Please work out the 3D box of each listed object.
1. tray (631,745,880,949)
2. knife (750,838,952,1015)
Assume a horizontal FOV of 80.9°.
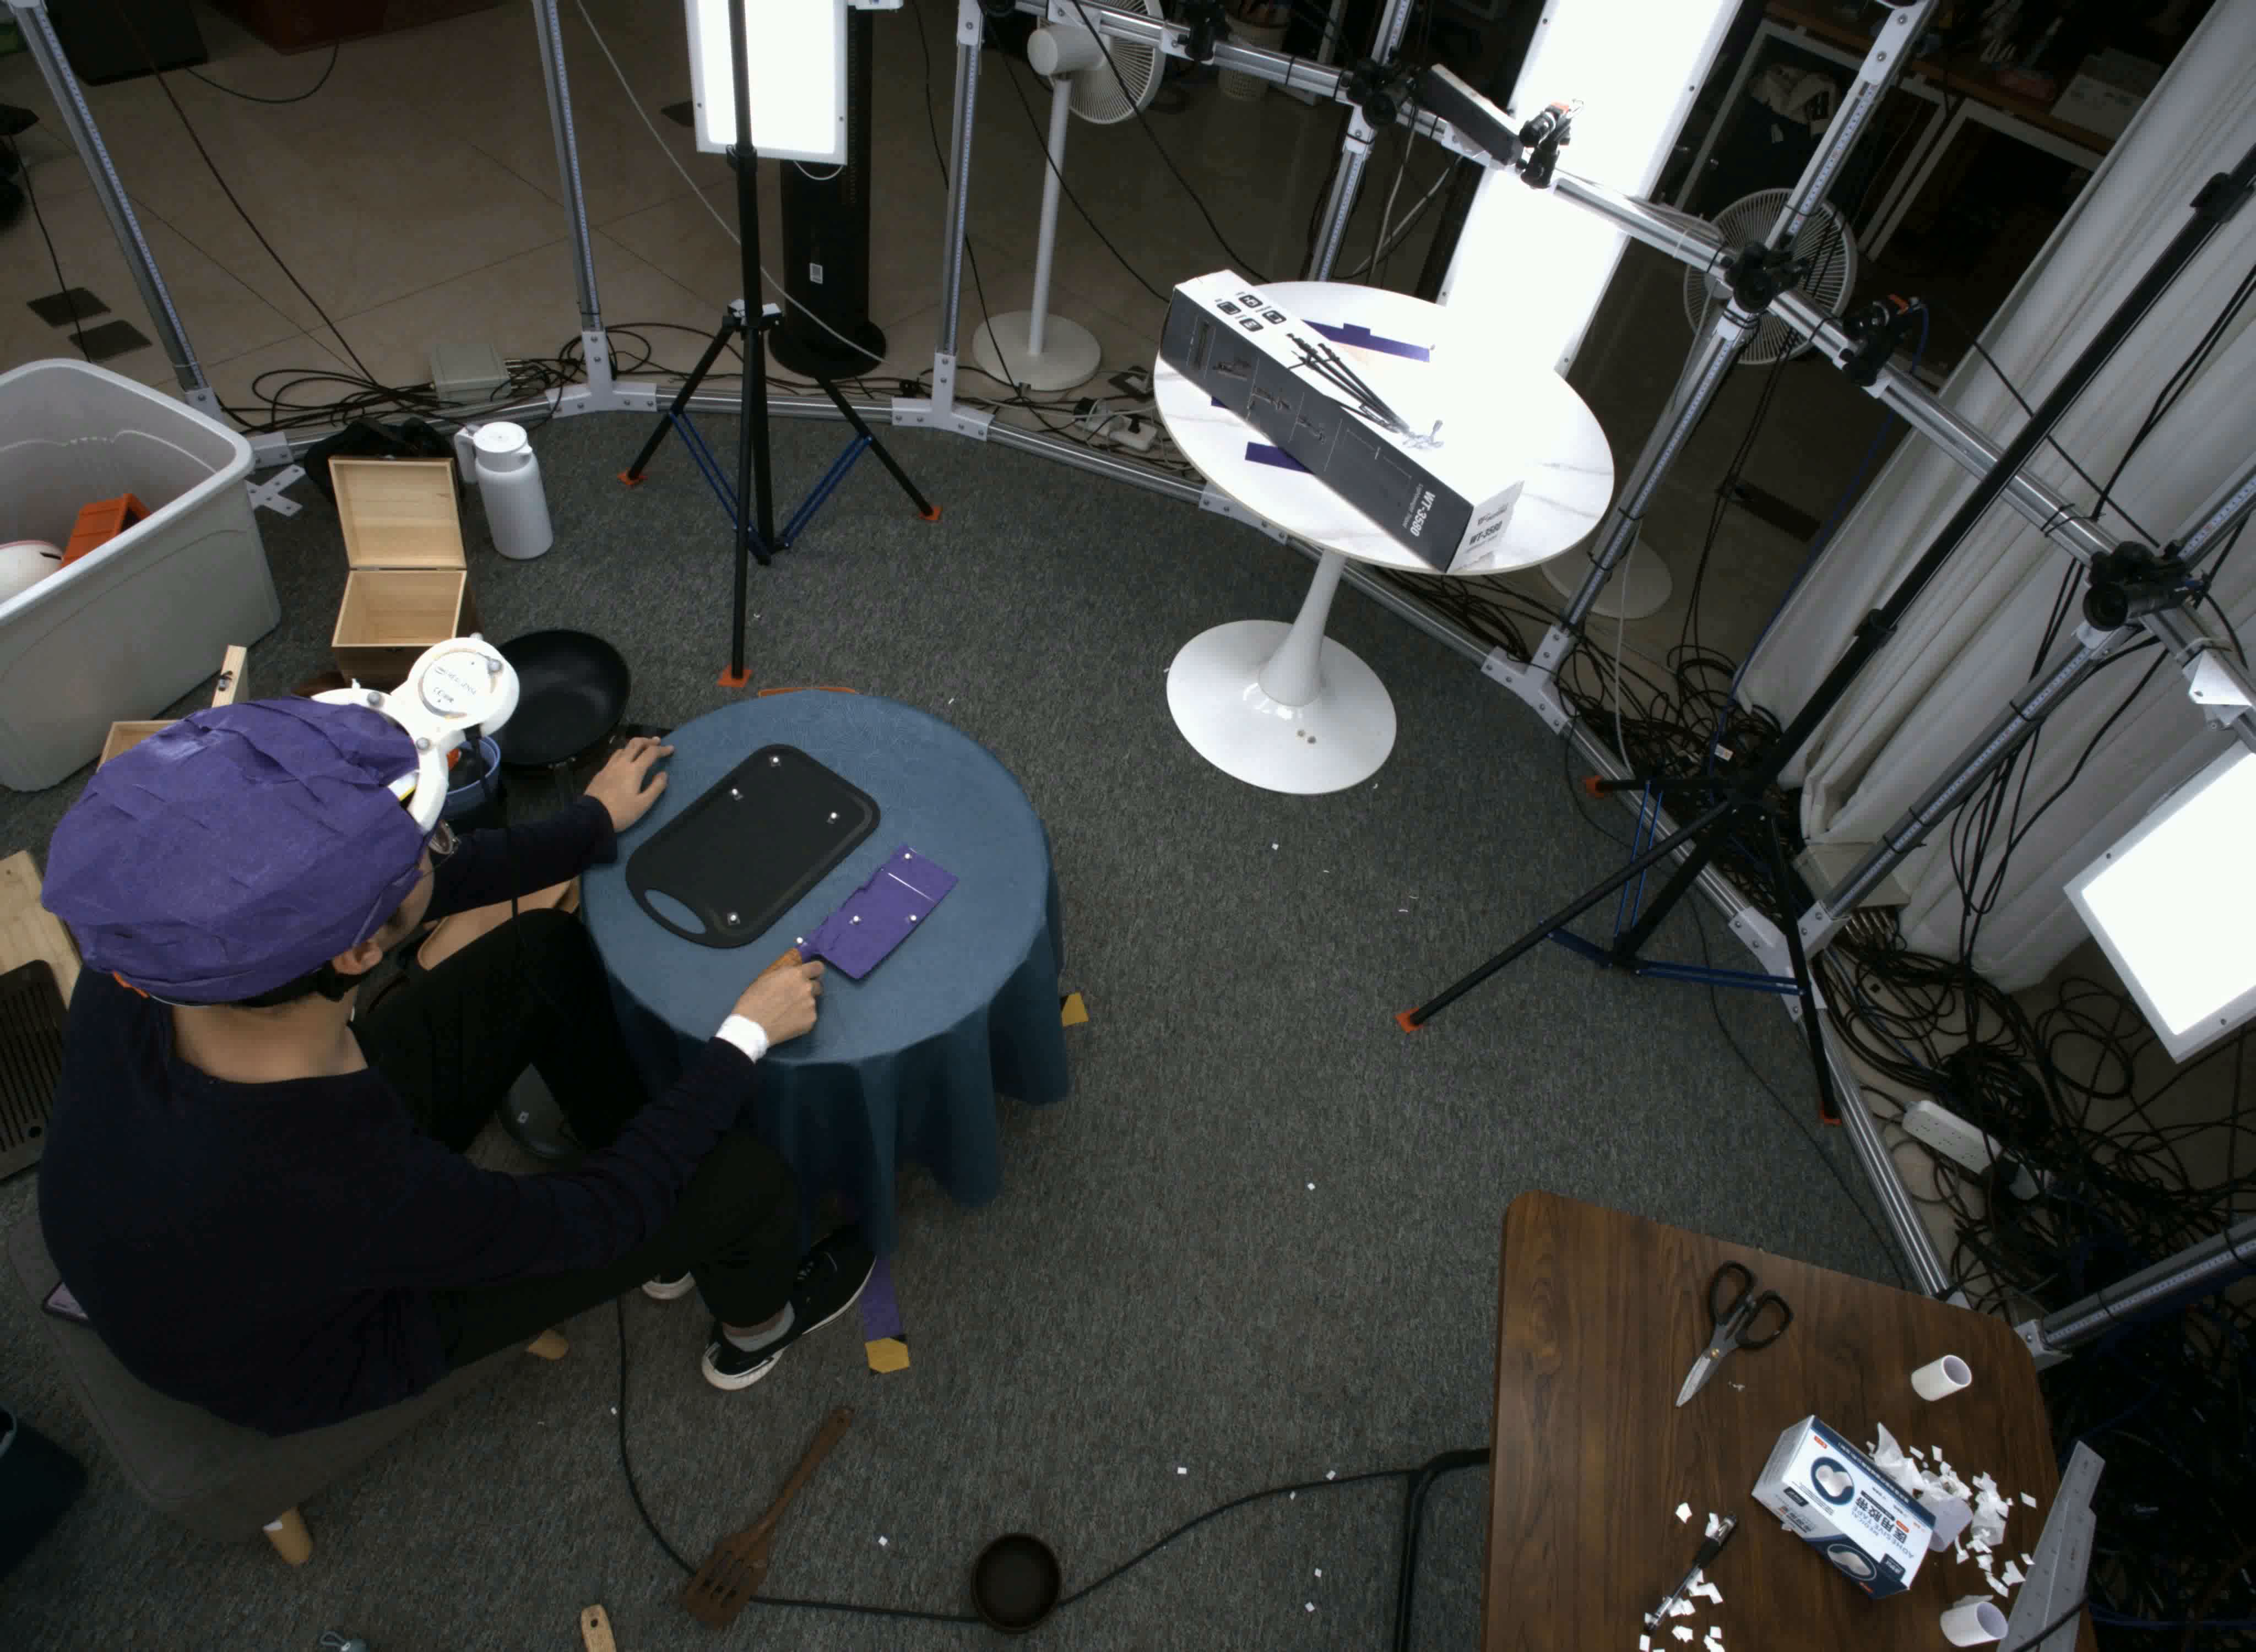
[{"bbox_3d":[-0.490,0.023,1.697,0.207,0.010,0.325,33,53,11],"label":"tray"},{"bbox_3d":[-0.341,0.132,1.641,0.102,0.033,0.314,31,52,10],"label":"knife"}]
